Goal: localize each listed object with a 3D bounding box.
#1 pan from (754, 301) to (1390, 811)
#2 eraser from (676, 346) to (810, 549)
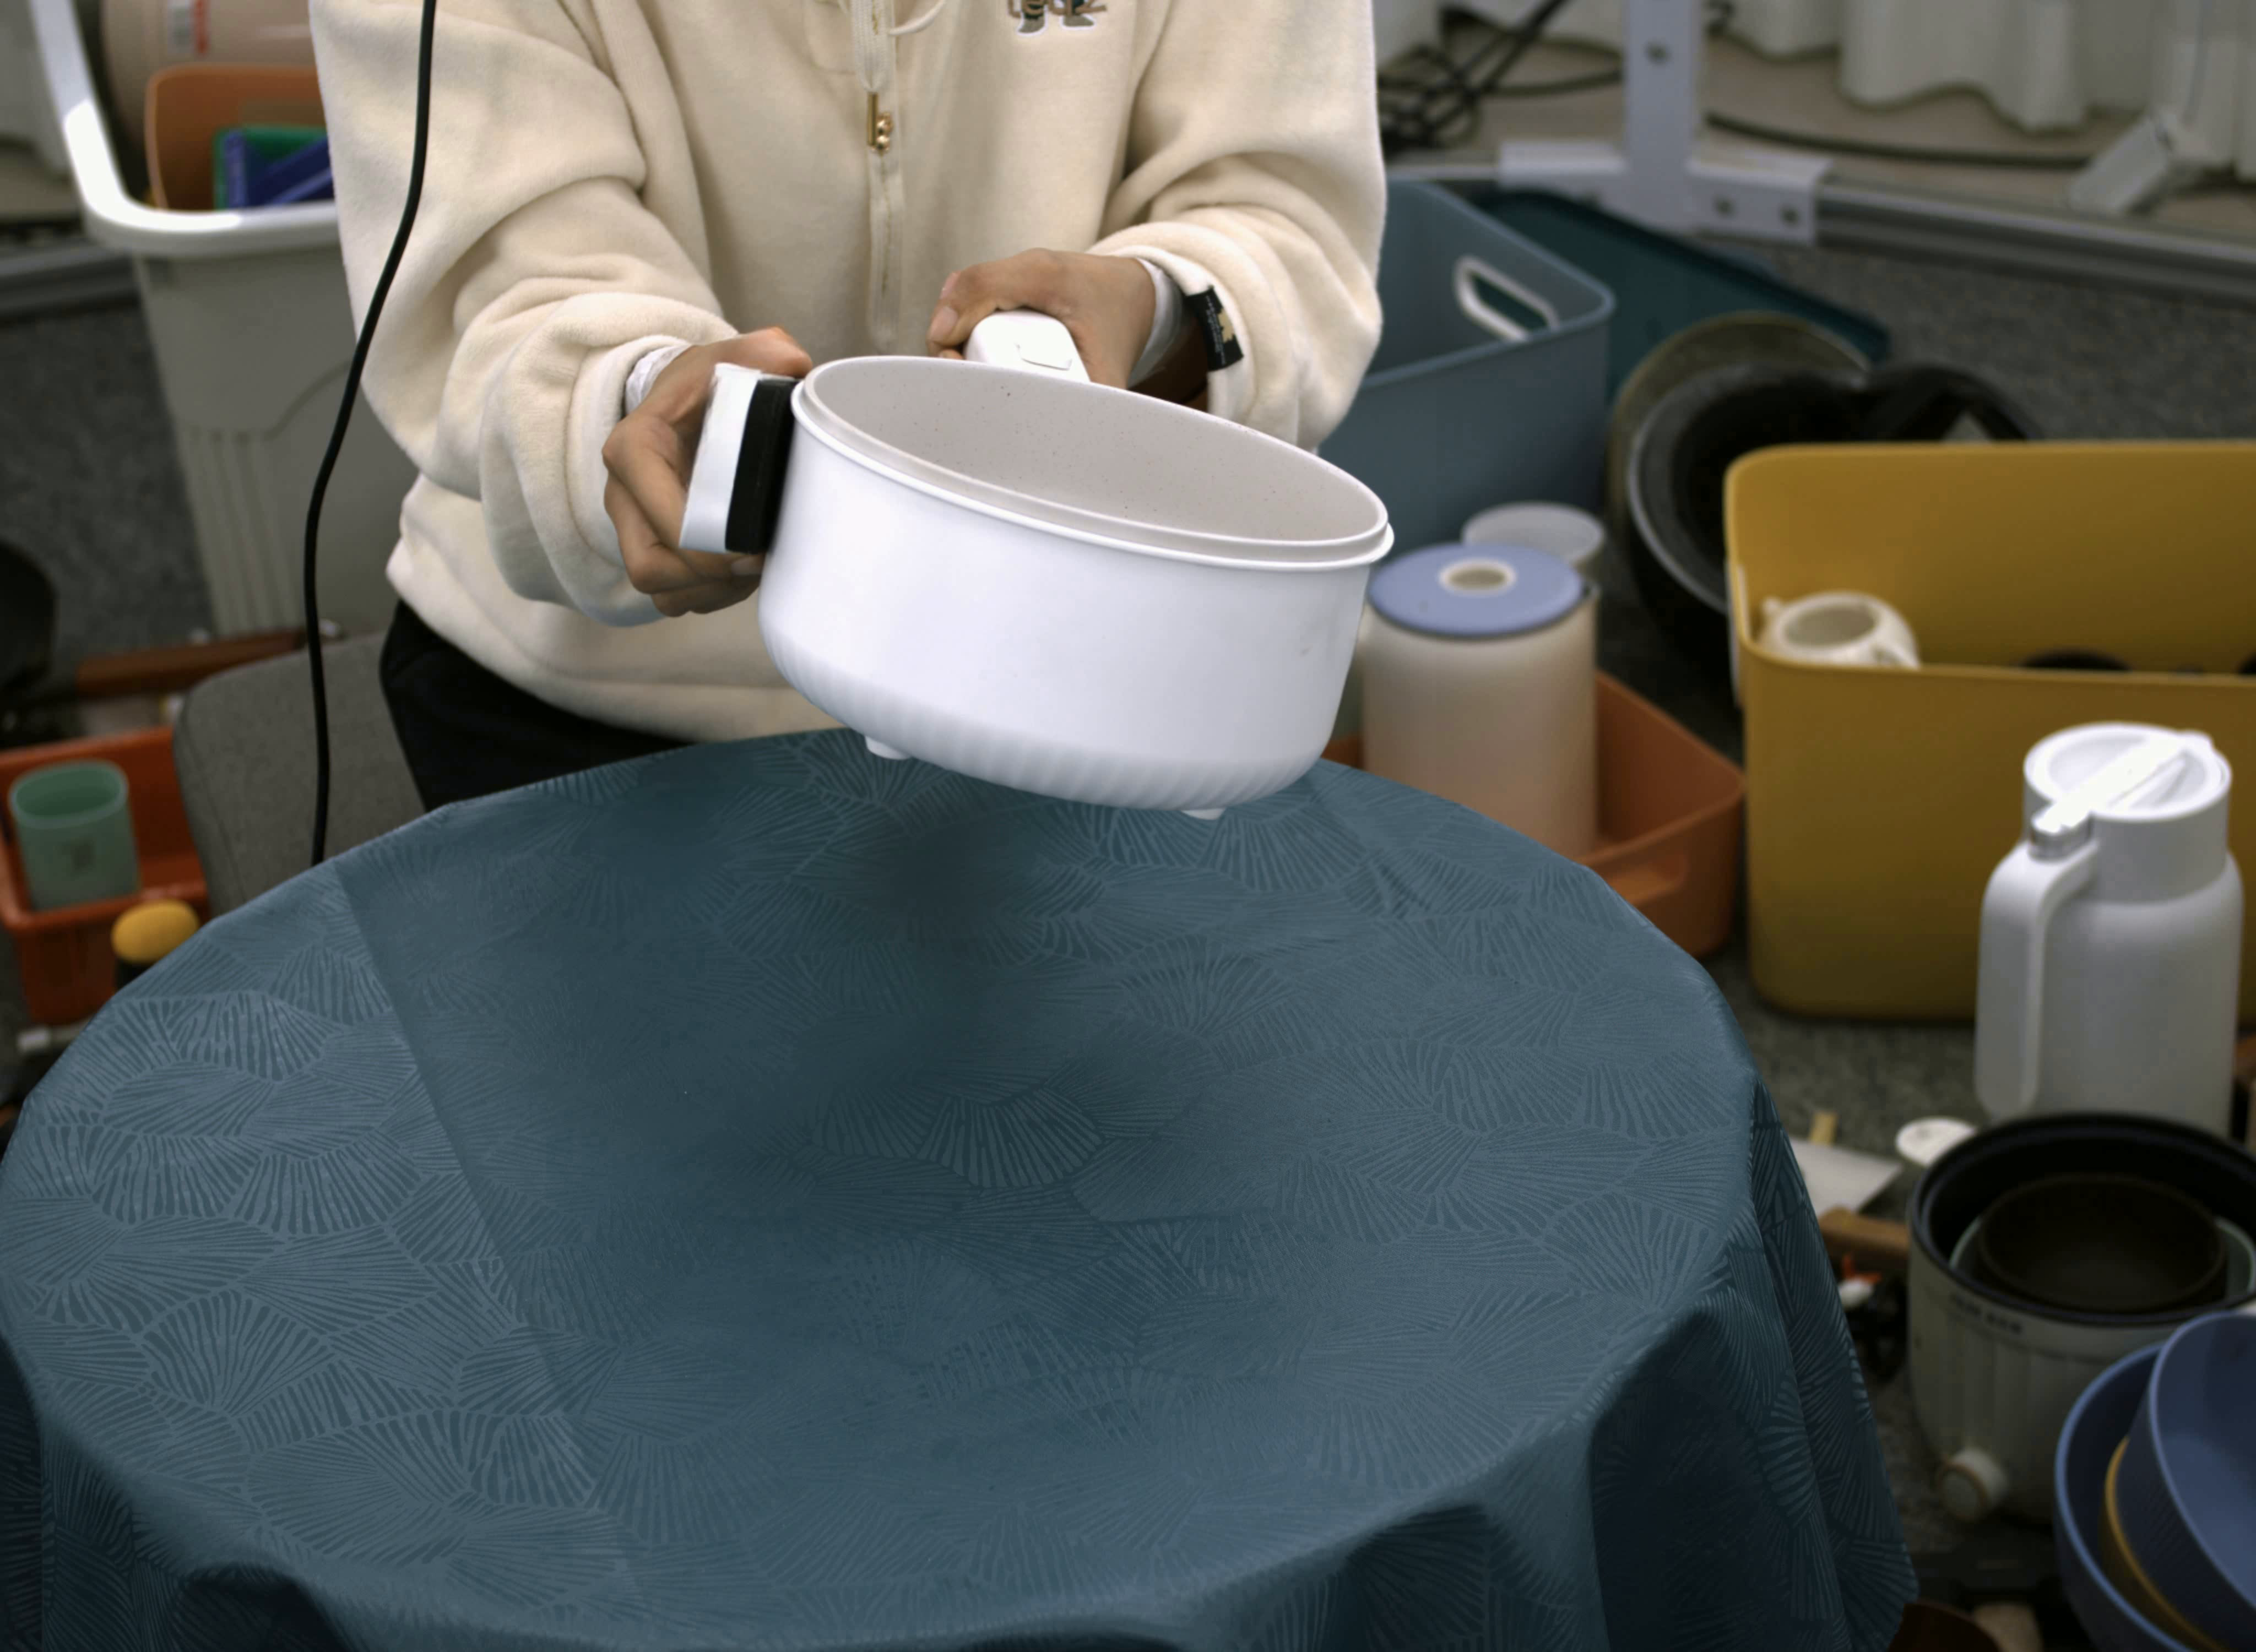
[{"bbox_3d":[-0.032,-0.099,1.910,0.200,0.101,0.357,12,13,-11],"label":"pan"},{"bbox_3d":[-0.125,-0.124,1.866,0.034,0.063,0.131,14,5,3],"label":"eraser"}]
